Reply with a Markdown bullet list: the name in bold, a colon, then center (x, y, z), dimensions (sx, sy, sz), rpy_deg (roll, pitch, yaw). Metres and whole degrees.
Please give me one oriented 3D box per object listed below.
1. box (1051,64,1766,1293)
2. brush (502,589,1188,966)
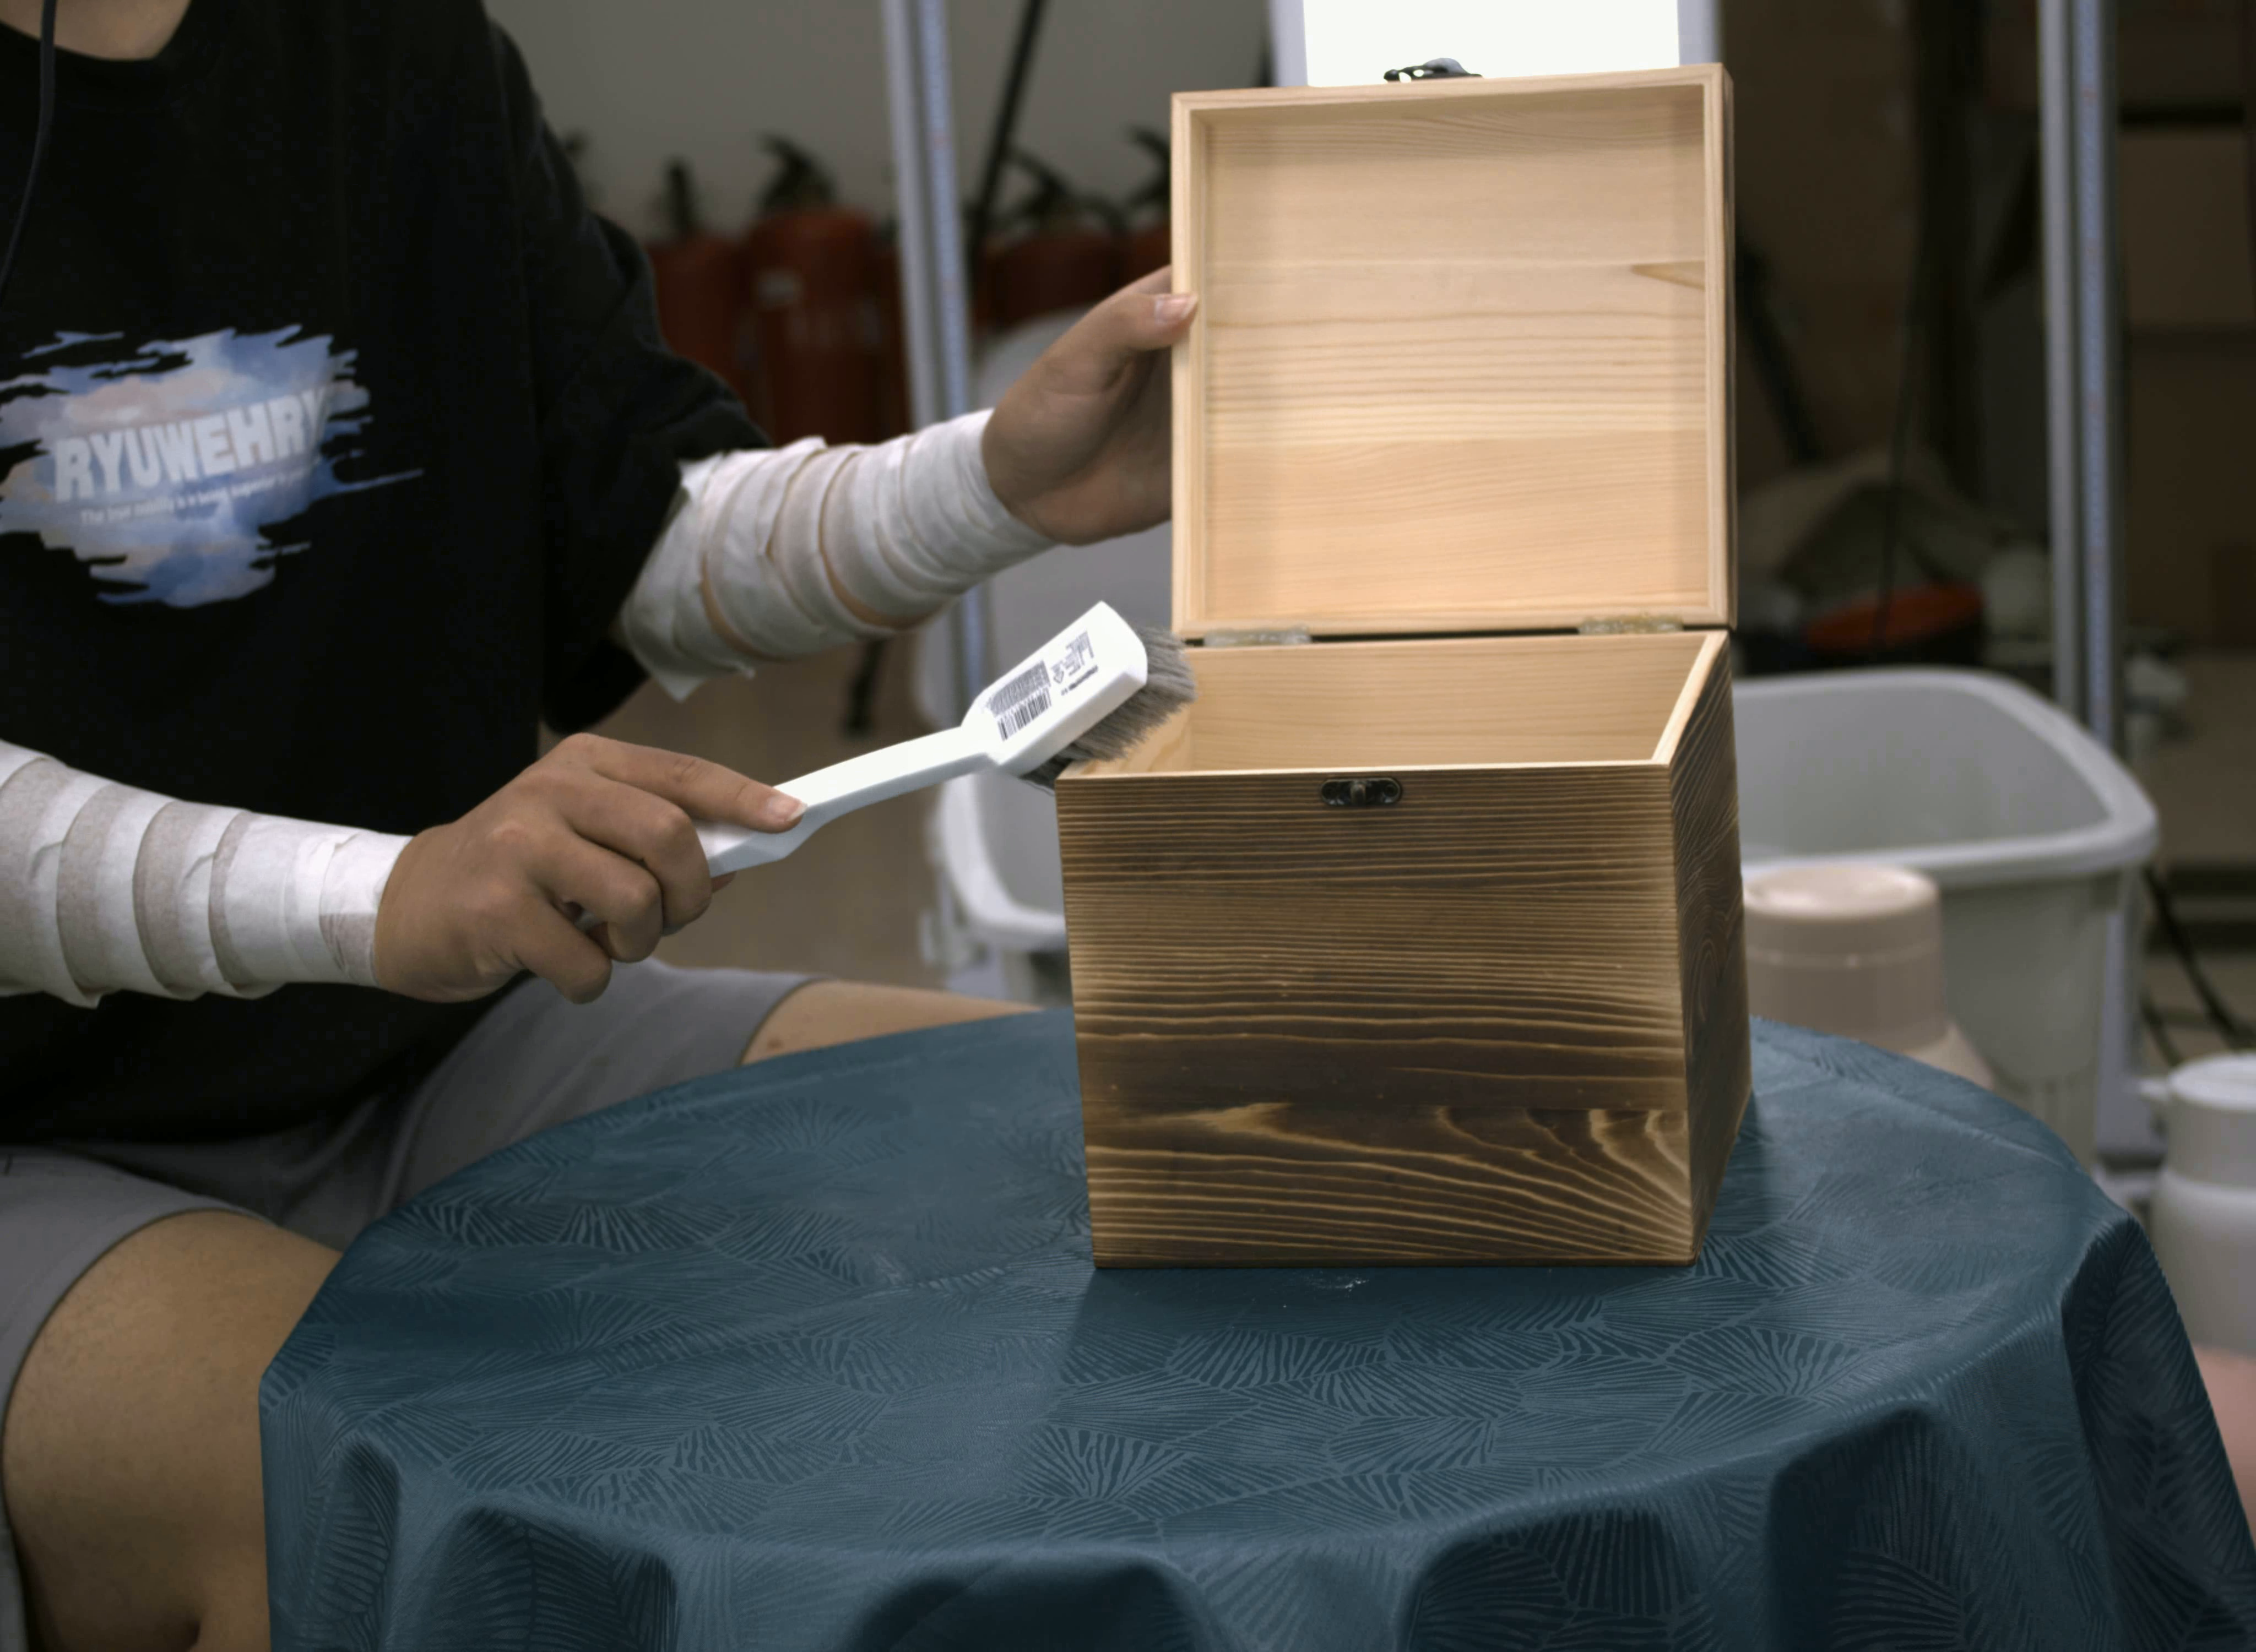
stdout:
- **box**: center (0.101, -0.064, 1.895), dimensions (0.210, 0.377, 0.318), rpy_deg (-3, 12, 14)
- **brush**: center (-0.092, -0.006, 1.818), dimensions (0.245, 0.049, 0.034), rpy_deg (-28, 50, 9)
